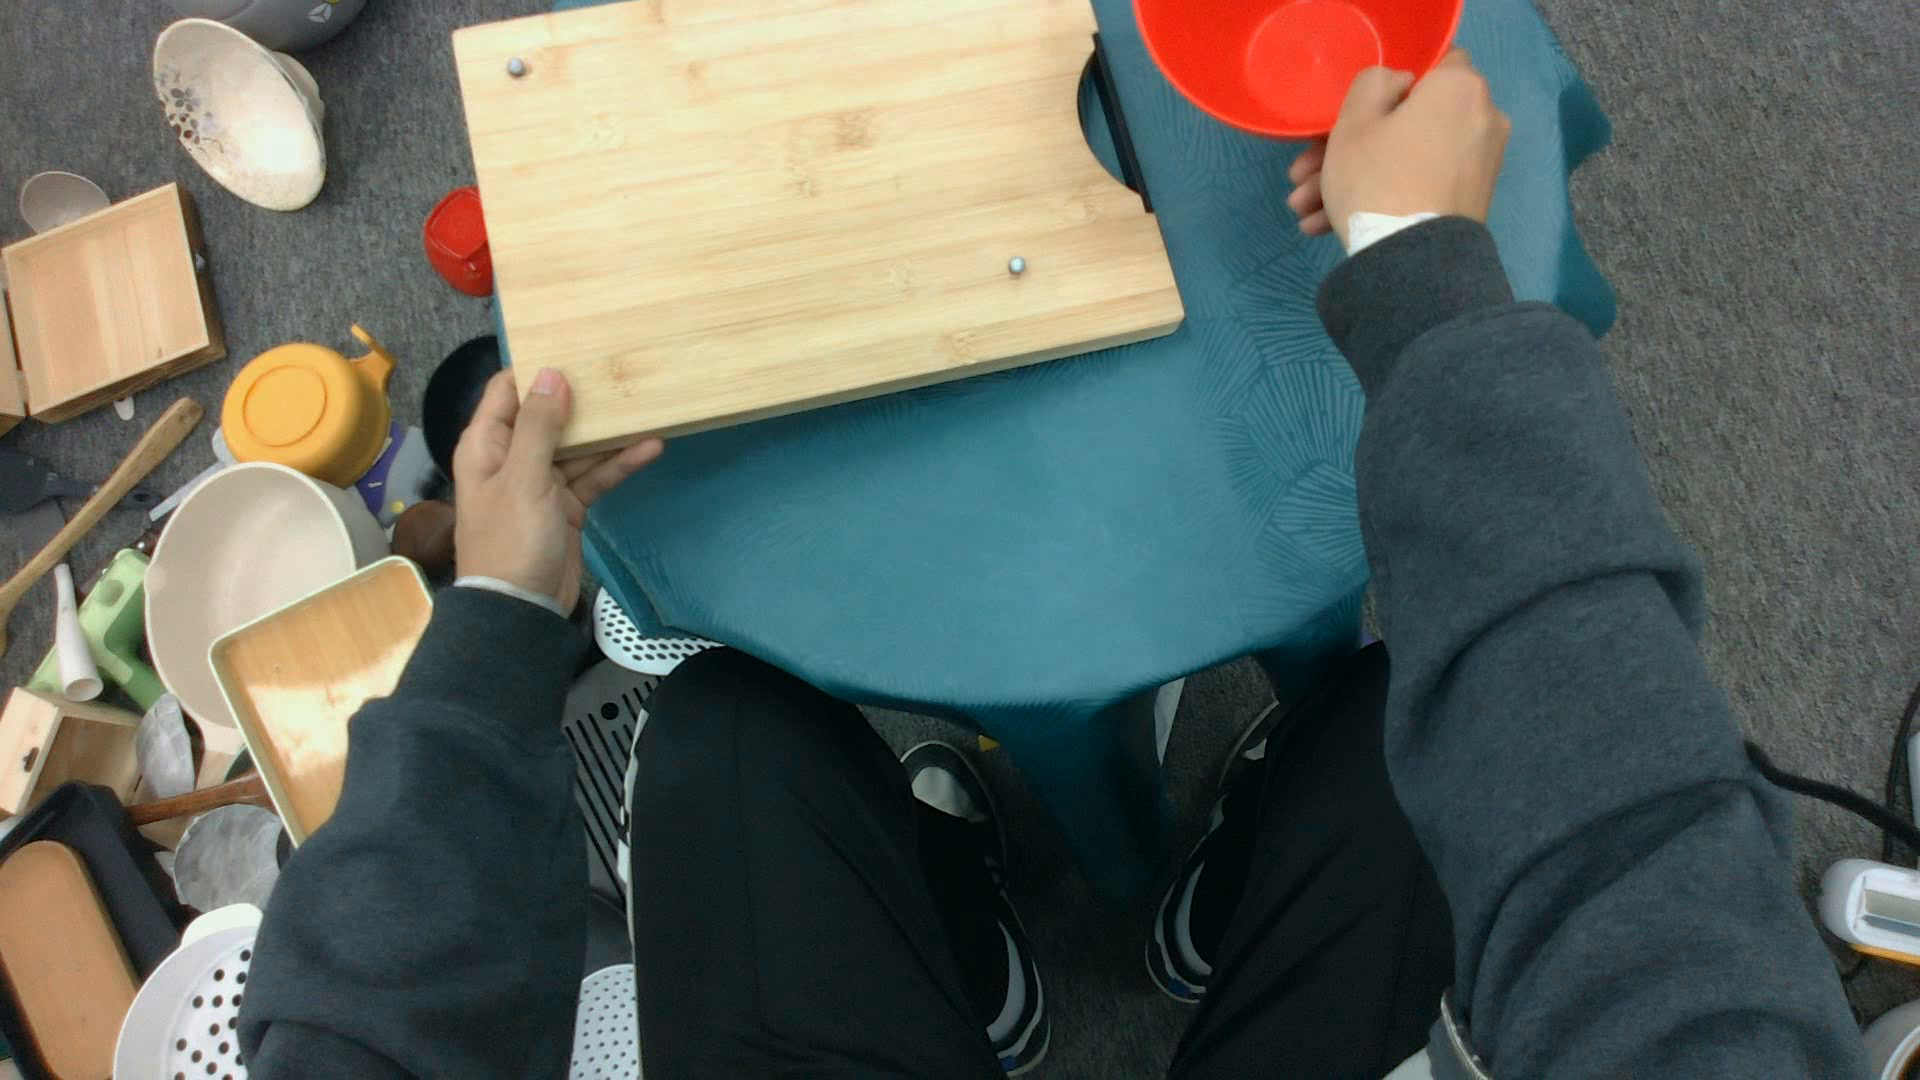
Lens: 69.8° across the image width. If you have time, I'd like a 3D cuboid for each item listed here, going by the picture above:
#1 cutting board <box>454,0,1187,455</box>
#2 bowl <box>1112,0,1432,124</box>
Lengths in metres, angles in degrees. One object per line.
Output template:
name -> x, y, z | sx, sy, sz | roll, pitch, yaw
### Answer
cutting board -> -0.078, -0.194, 0.733 | 0.349, 0.023, 0.251 | -14, 77, -9
bowl -> 0.149, -0.261, 0.655 | 0.148, 0.104, 0.148 | -1, 85, 13
